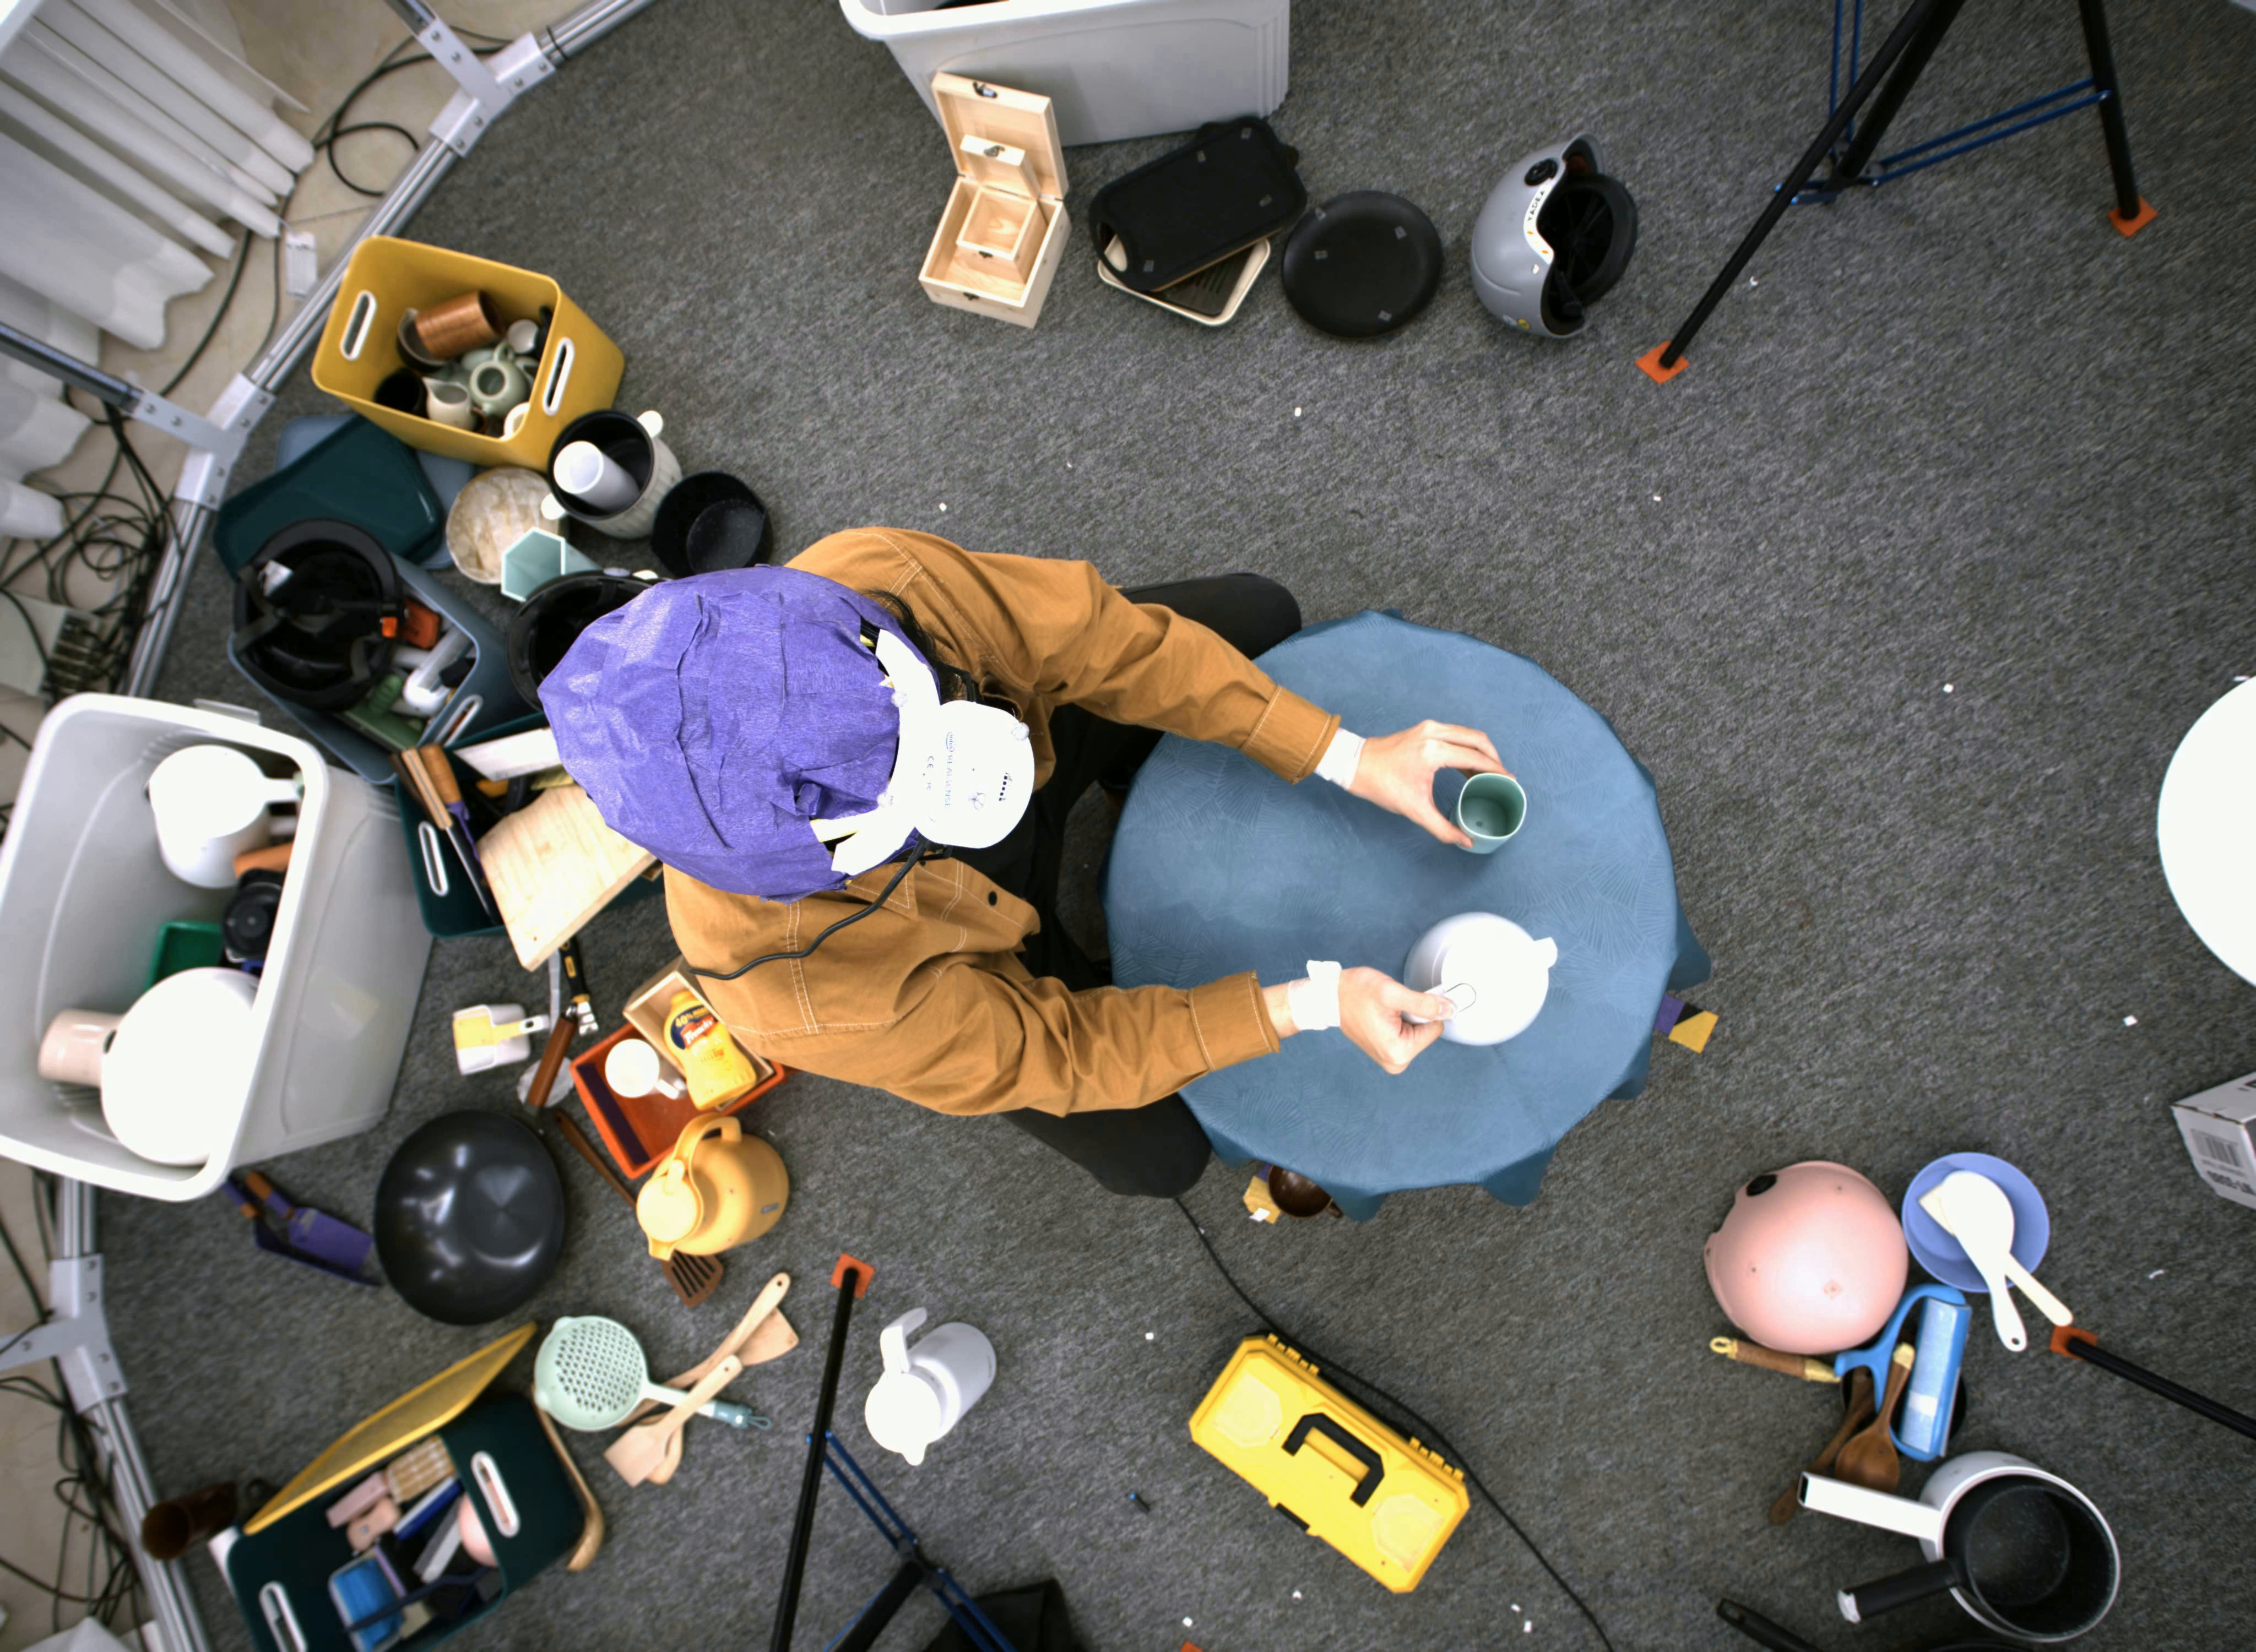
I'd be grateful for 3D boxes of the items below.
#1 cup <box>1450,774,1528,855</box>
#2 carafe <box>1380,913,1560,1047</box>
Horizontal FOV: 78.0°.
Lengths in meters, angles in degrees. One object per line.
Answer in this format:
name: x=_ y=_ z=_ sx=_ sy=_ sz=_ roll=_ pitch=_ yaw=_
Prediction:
cup: x=0.357 y=-0.012 z=1.372 sx=0.067 sy=0.133 sz=0.066 roll=-1 pitch=83 yaw=8
carafe: x=0.320 y=0.155 z=1.318 sx=0.168 sy=0.249 sz=0.132 roll=-28 pitch=81 yaw=6
